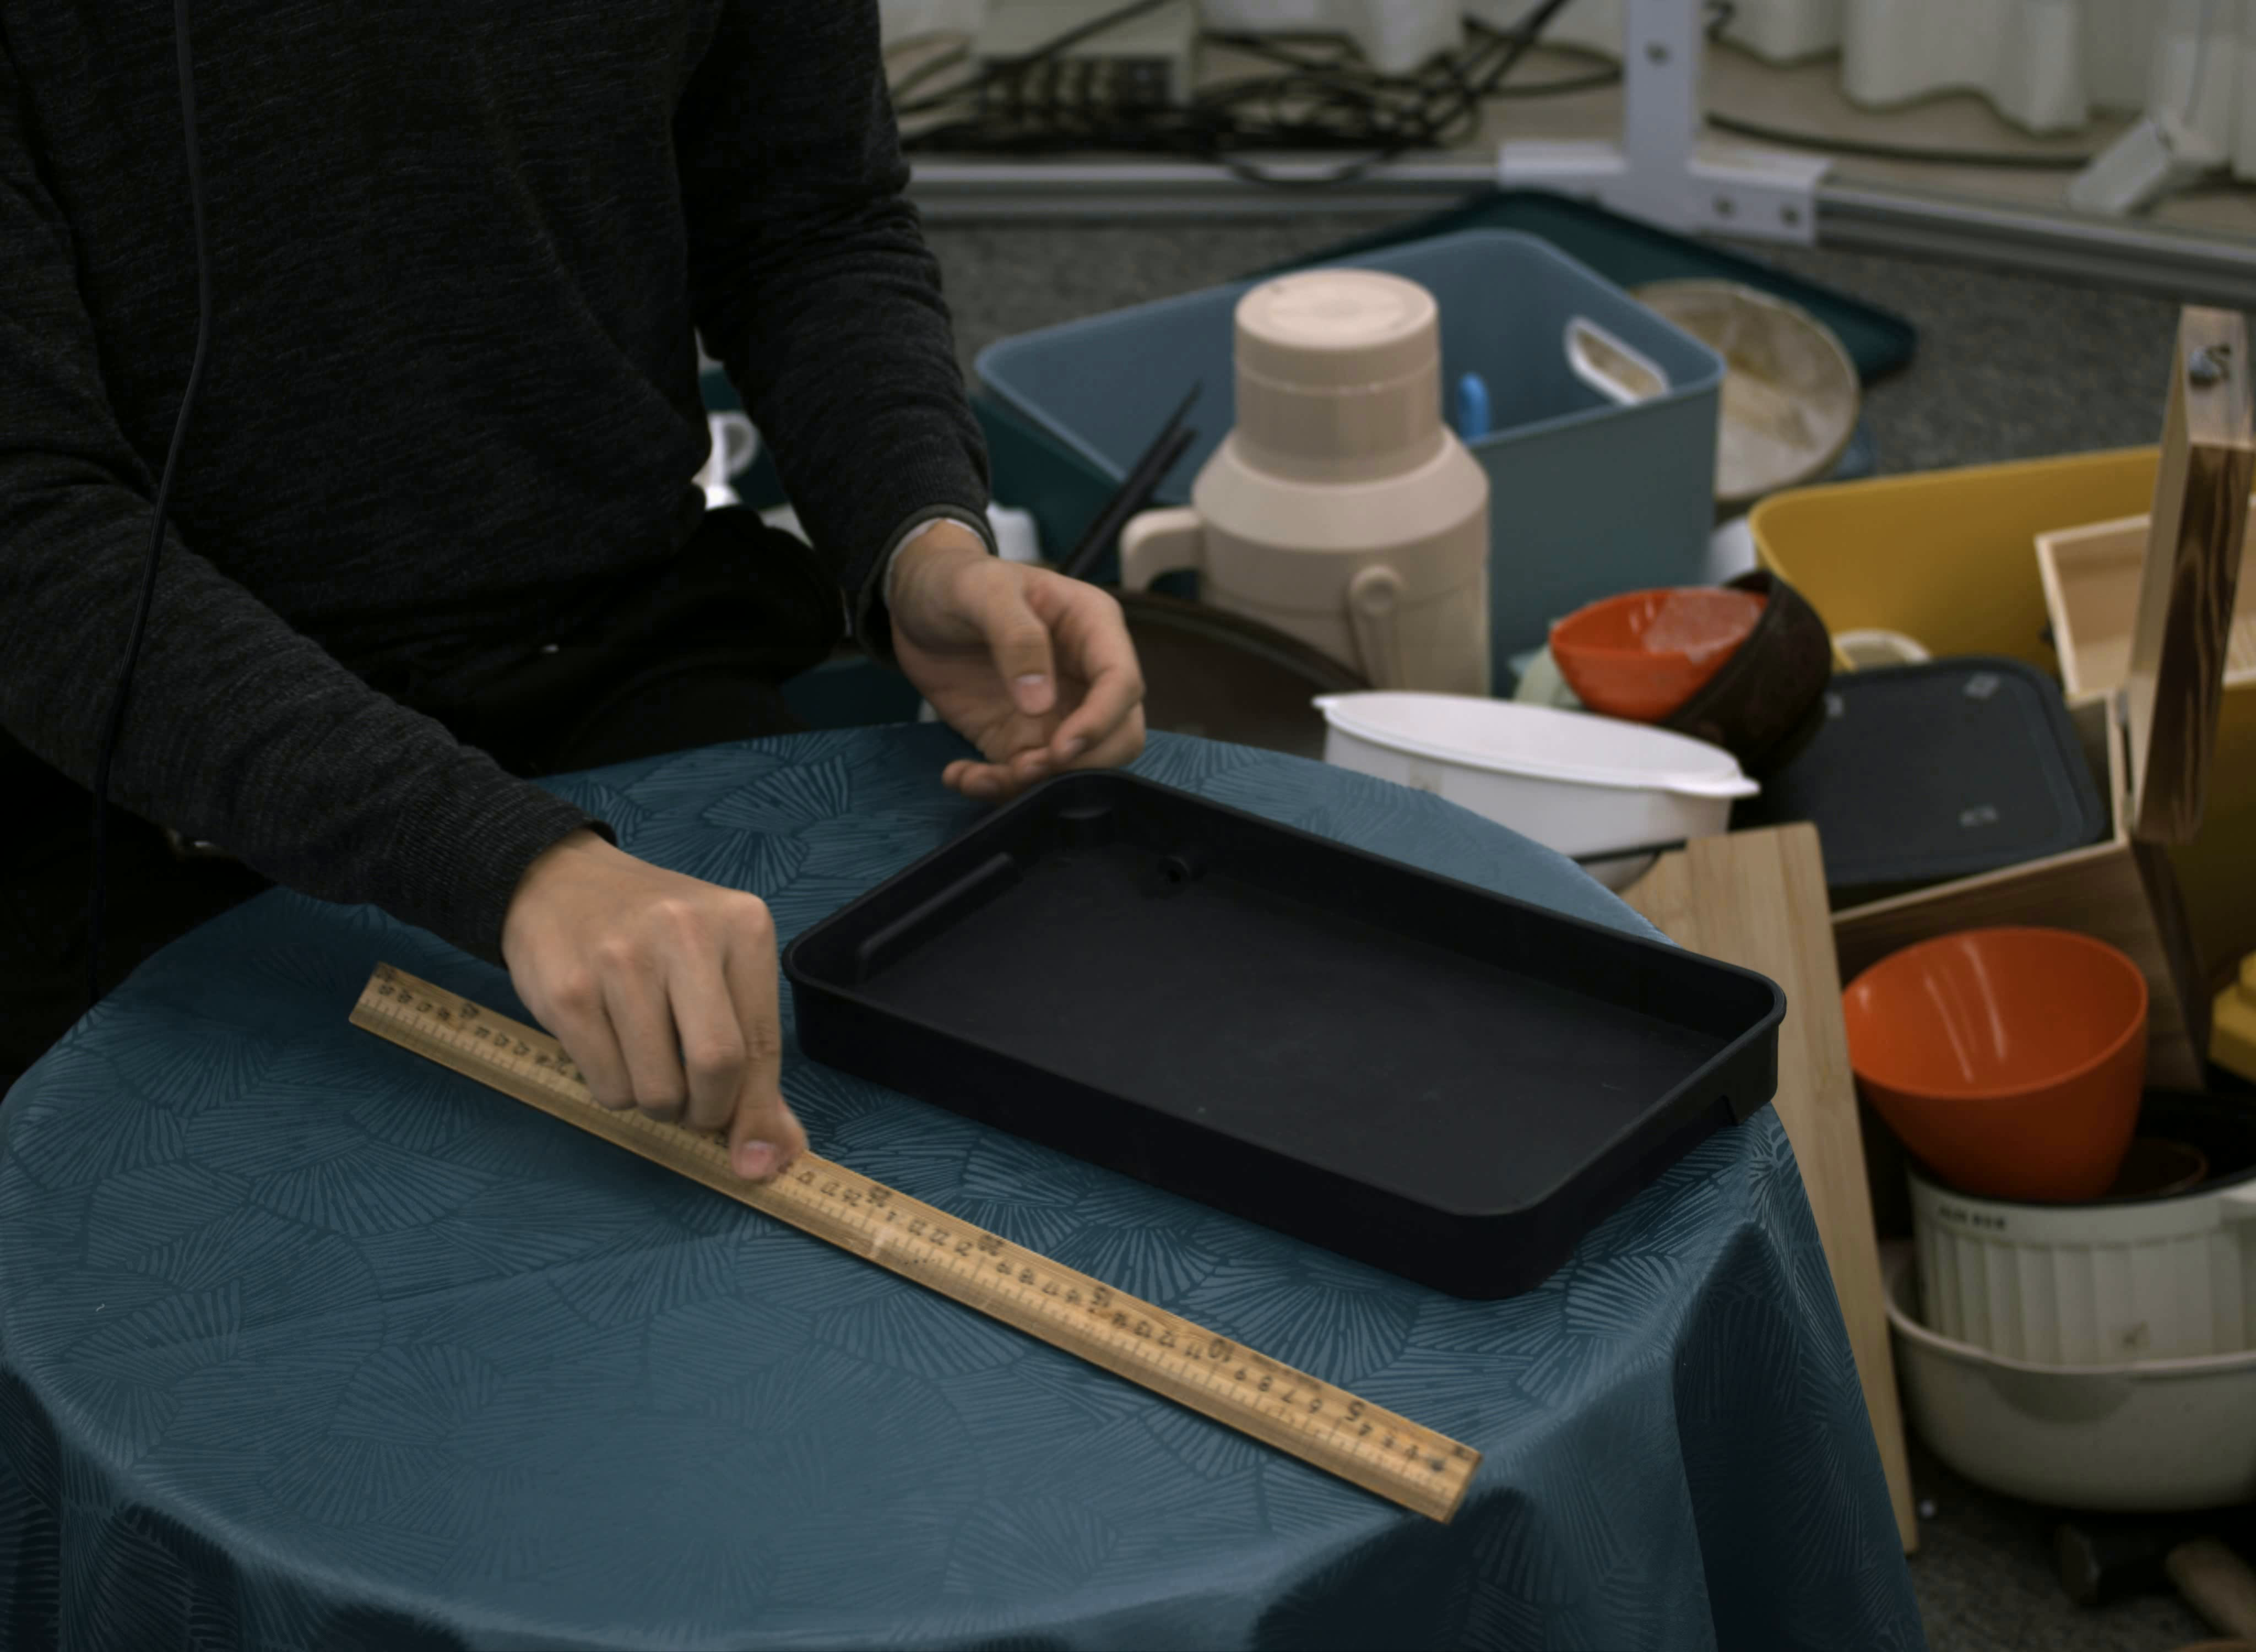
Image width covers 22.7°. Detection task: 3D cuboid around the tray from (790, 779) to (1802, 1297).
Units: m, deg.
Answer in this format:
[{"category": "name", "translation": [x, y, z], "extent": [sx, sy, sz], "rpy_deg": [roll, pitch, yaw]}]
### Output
[{"category": "tray", "translation": [0.055, 0.067, 1.922], "extent": [0.316, 0.036, 0.187], "rpy_deg": [16, 33, 34]}]

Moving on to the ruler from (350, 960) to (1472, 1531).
[{"category": "ruler", "translation": [-0.085, 0.129, 1.833], "extent": [0.499, 0.027, 0.006], "rpy_deg": [21, -11, 38]}]
